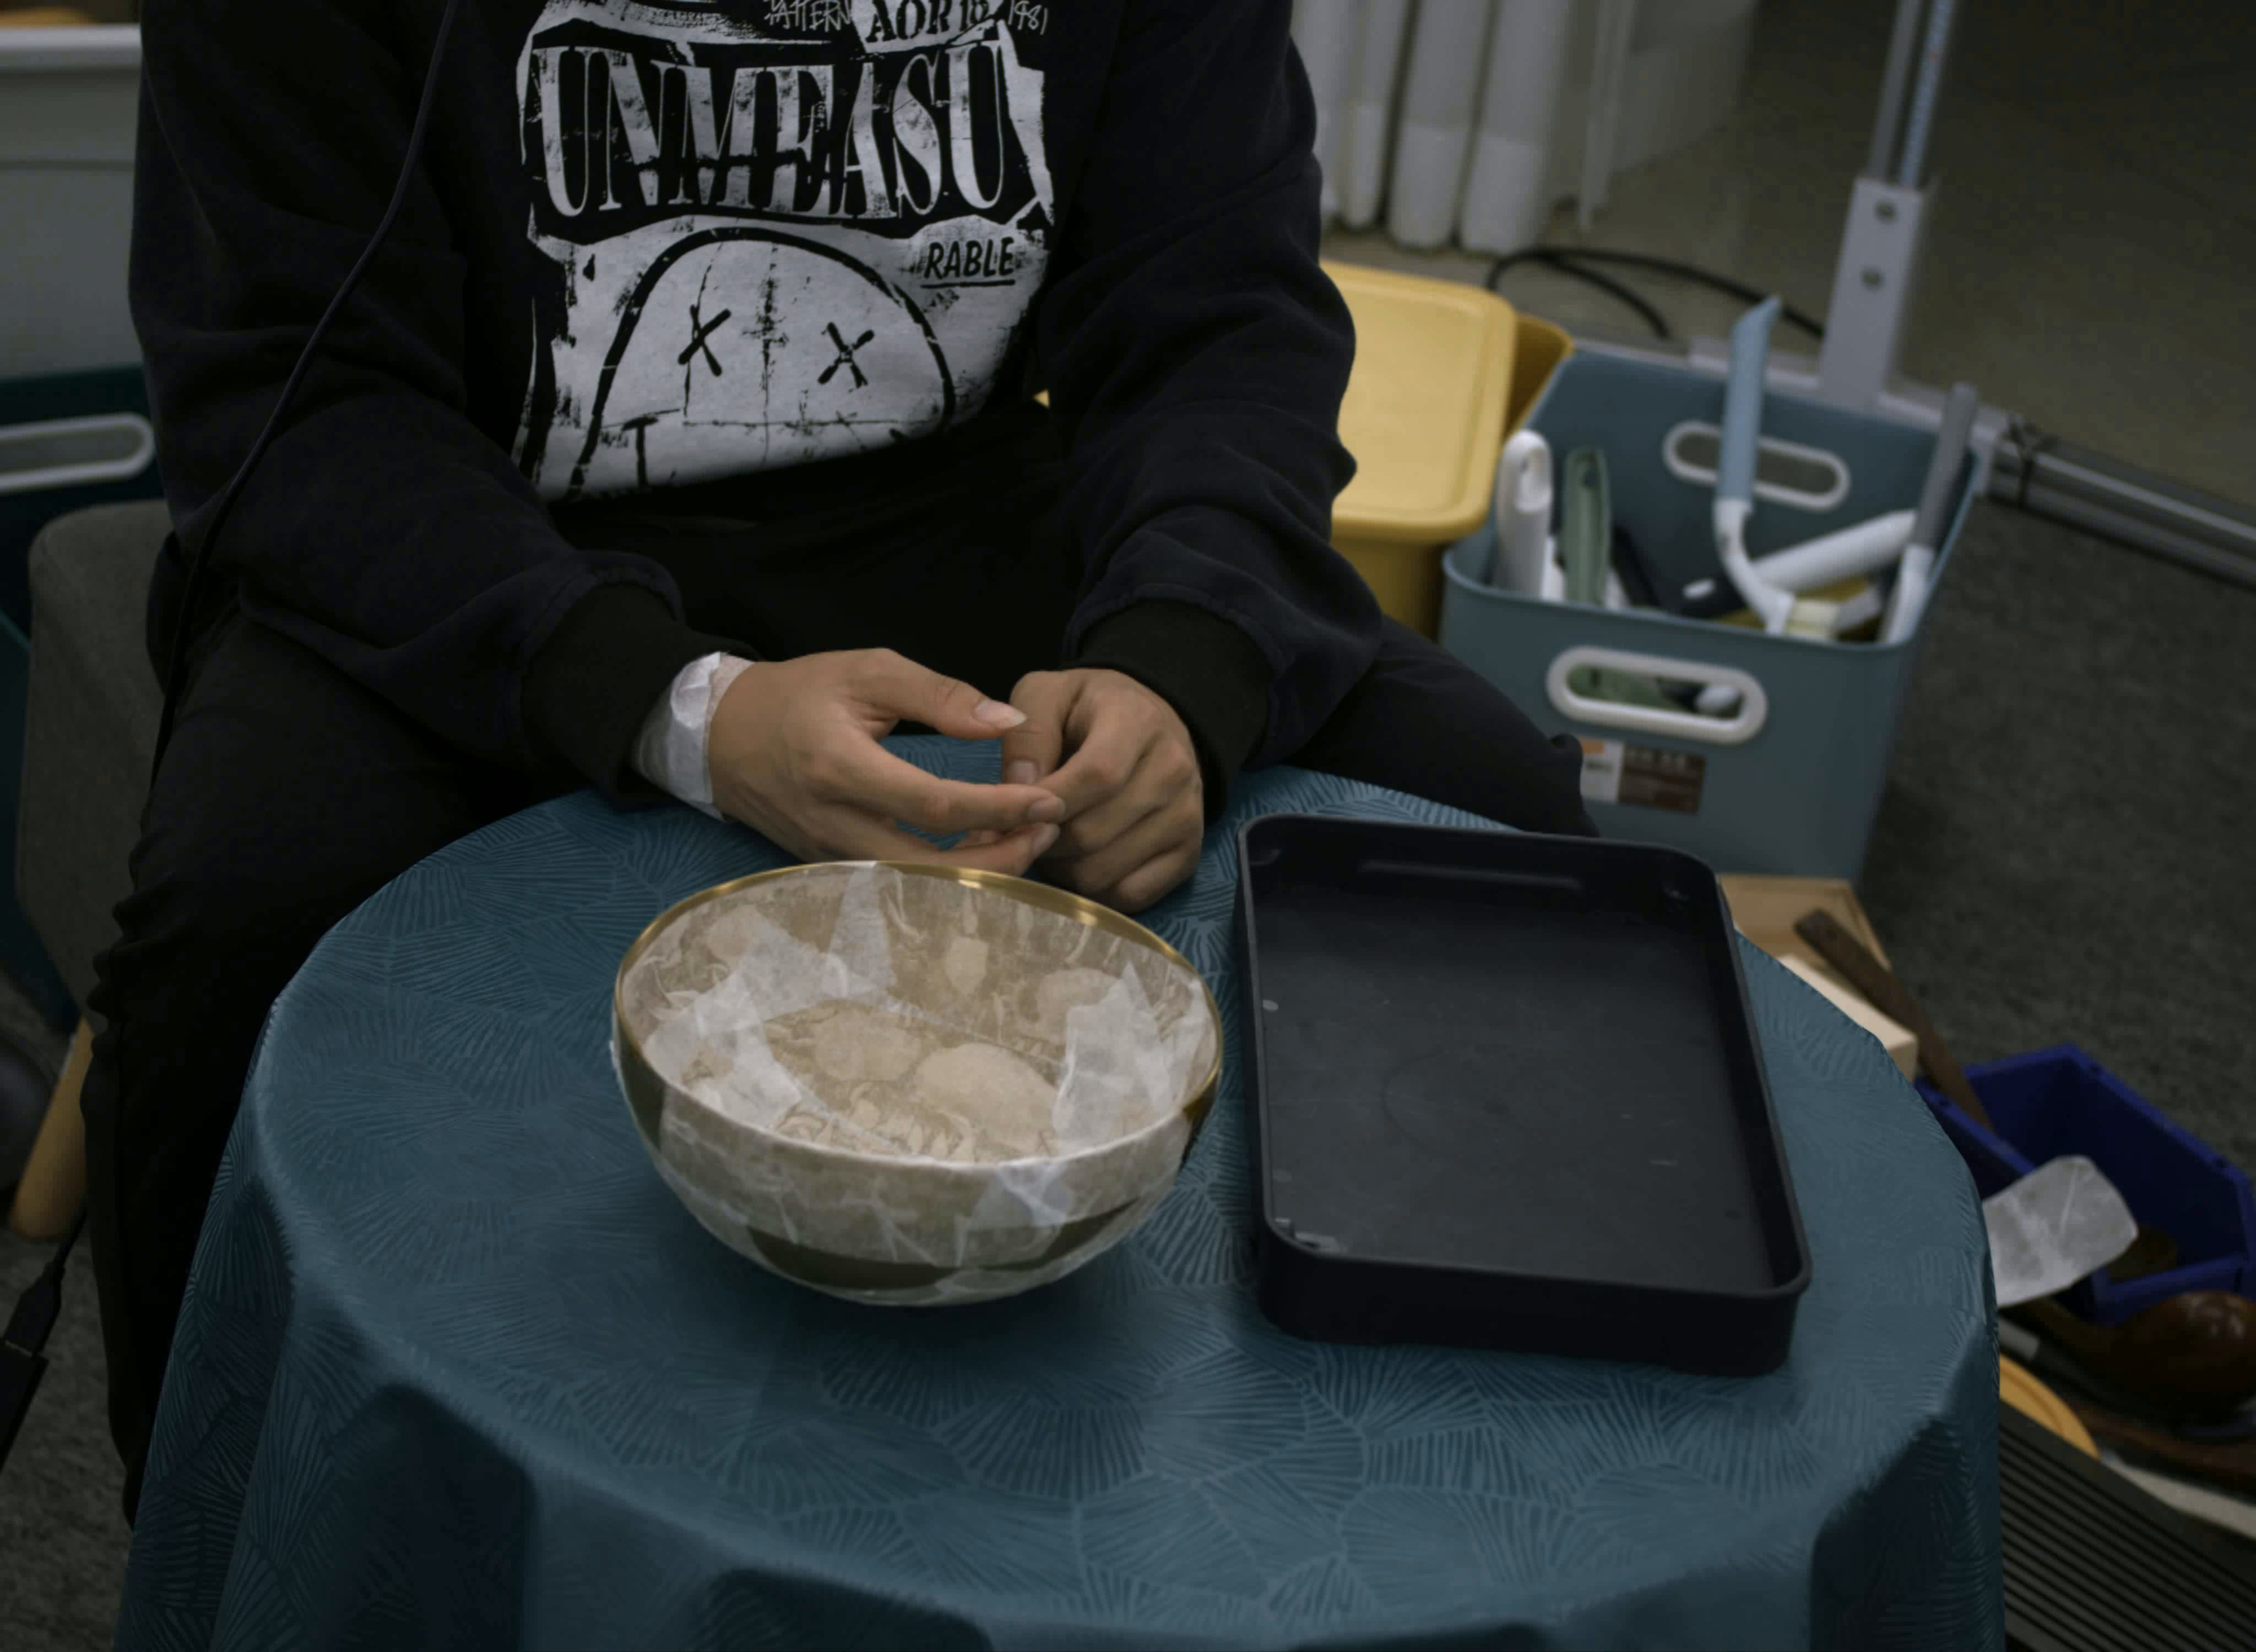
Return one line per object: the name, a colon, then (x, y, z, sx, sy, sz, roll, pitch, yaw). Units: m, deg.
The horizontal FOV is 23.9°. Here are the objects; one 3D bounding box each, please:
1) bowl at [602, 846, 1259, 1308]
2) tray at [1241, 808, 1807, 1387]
bowl: (-0.069, 0.095, 1.740, 0.214, 0.094, 0.216, 4, 27, -2)
tray: (0.131, 0.089, 1.862, 0.184, 0.037, 0.320, 6, 28, -2)
